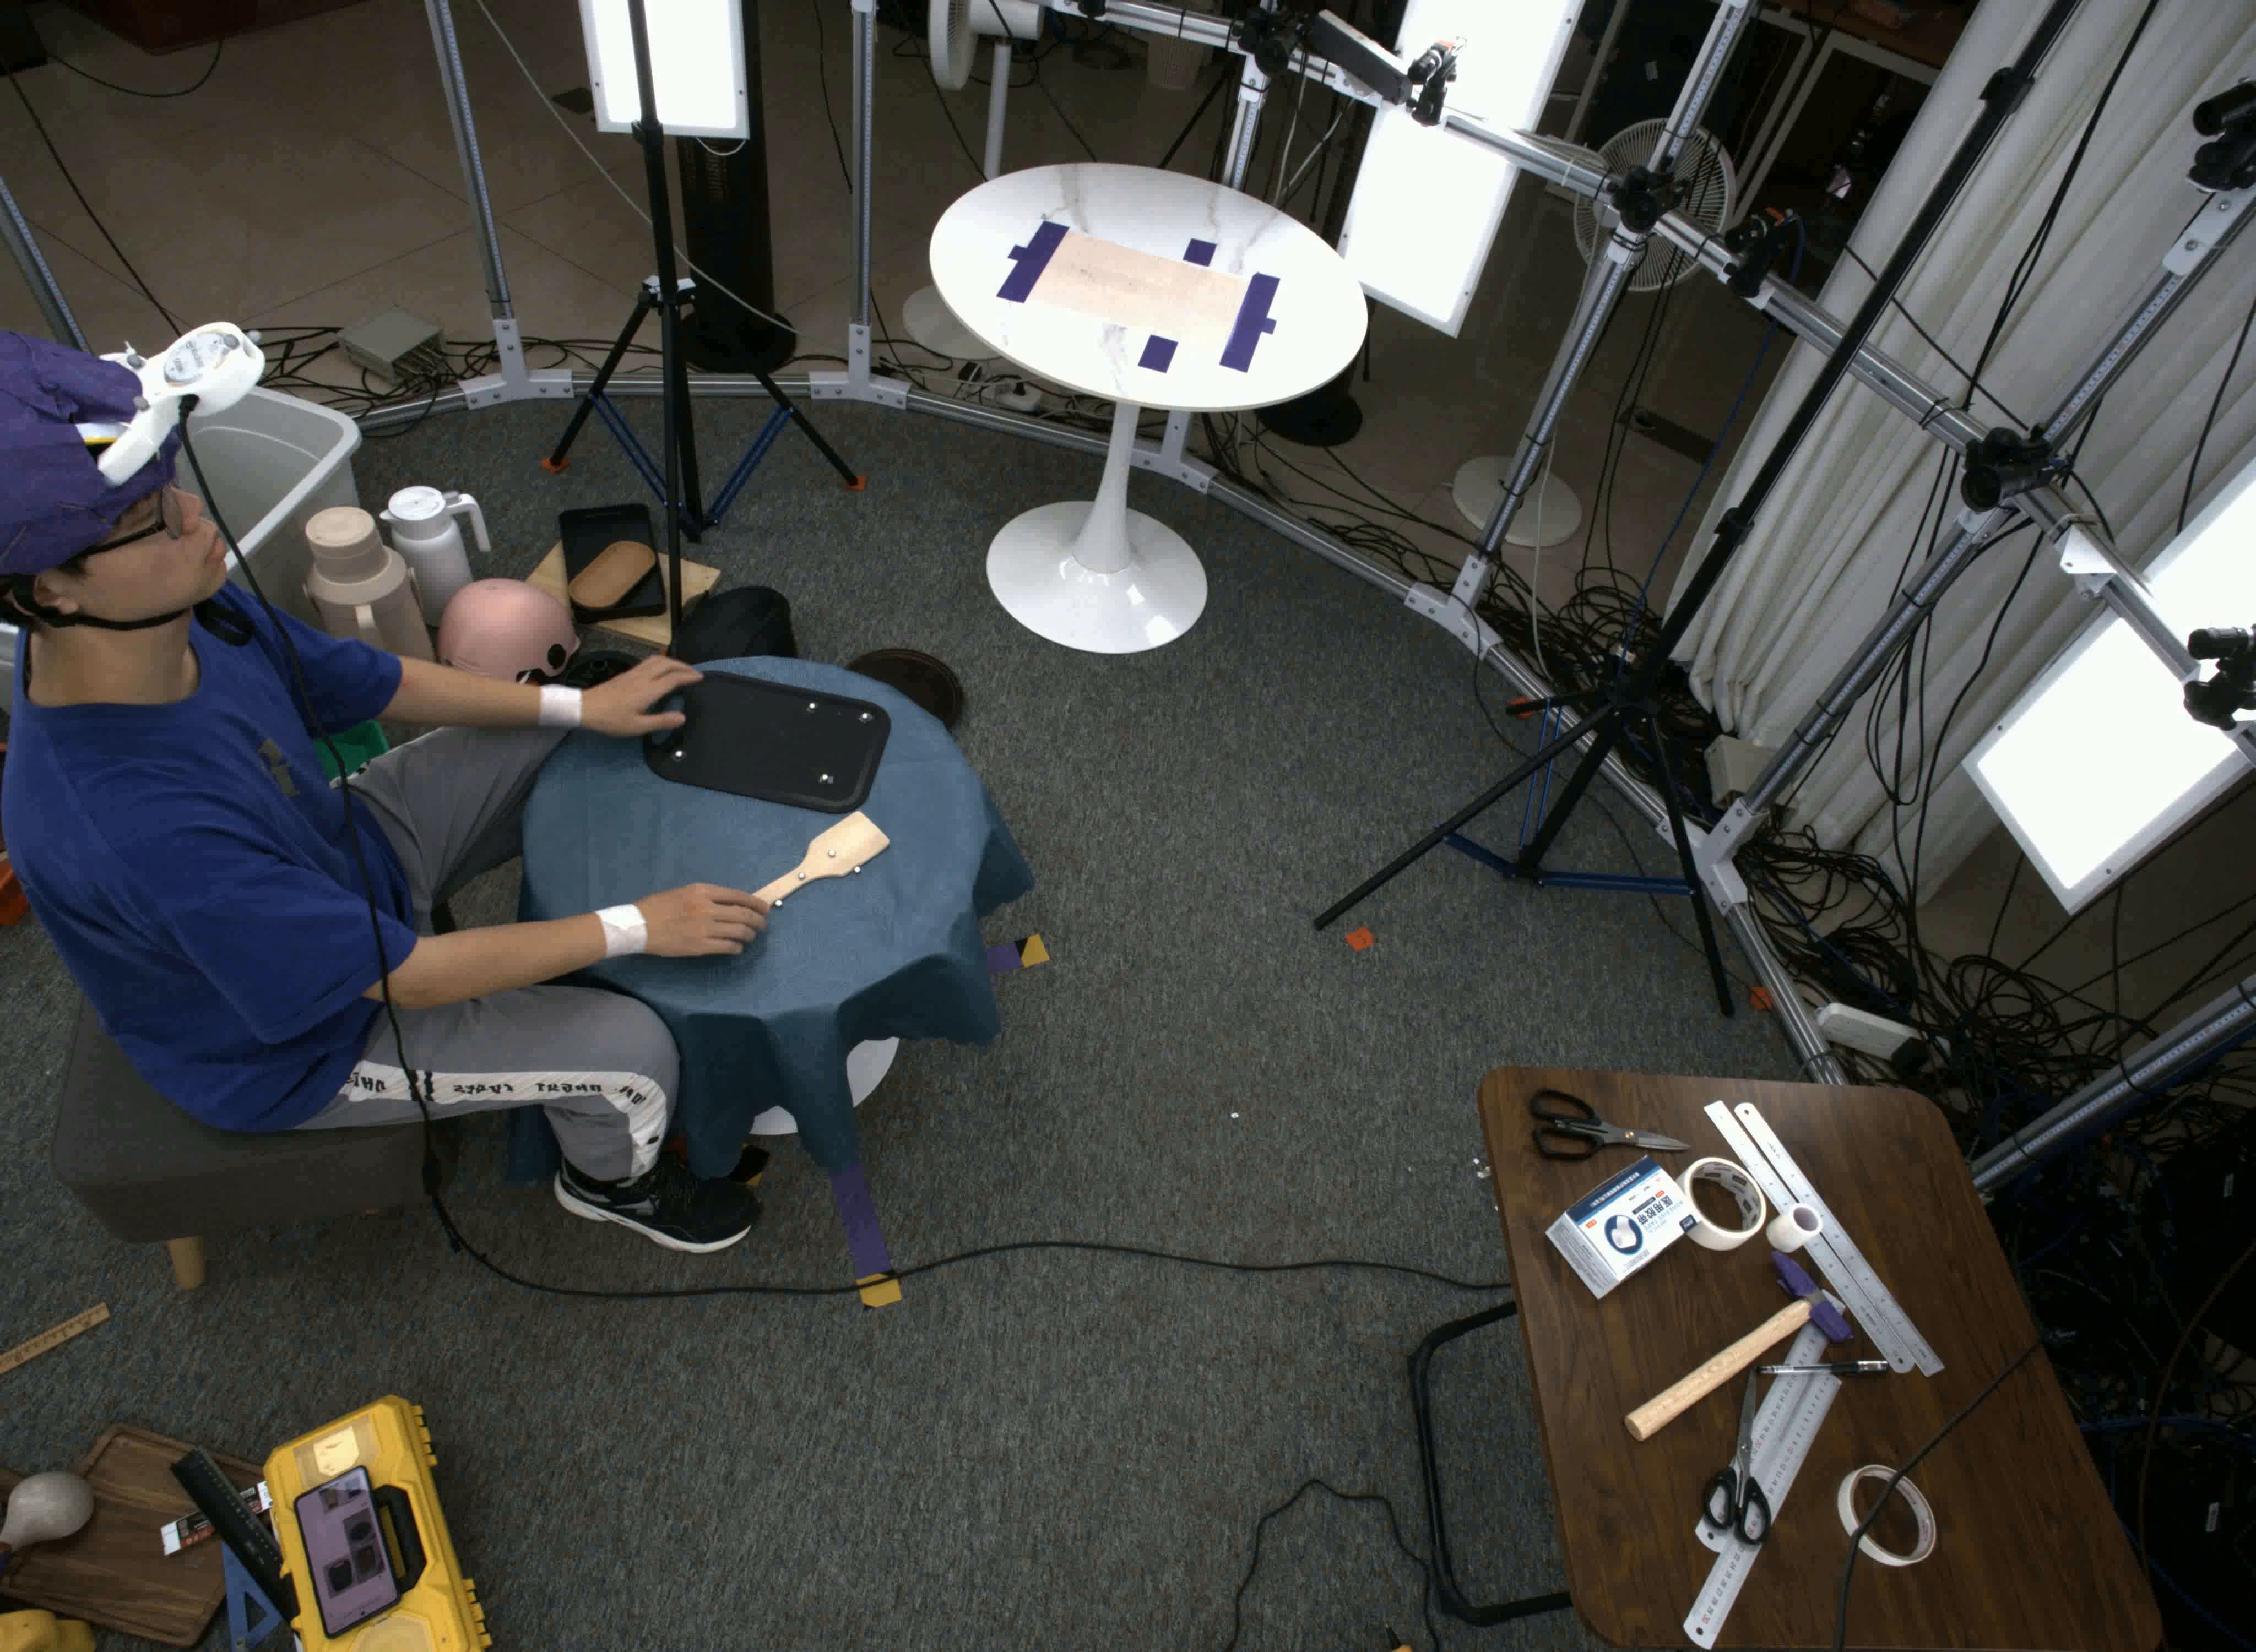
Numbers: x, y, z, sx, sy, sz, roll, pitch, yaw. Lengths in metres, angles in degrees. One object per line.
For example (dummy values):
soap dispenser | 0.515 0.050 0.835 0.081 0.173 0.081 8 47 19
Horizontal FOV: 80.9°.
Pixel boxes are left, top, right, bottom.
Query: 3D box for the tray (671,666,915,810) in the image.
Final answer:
tray | -0.473 -0.129 1.812 0.323 0.010 0.208 14 52 -4

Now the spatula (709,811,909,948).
spatula | -0.414 0.072 1.677 0.071 0.011 0.294 43 56 17
